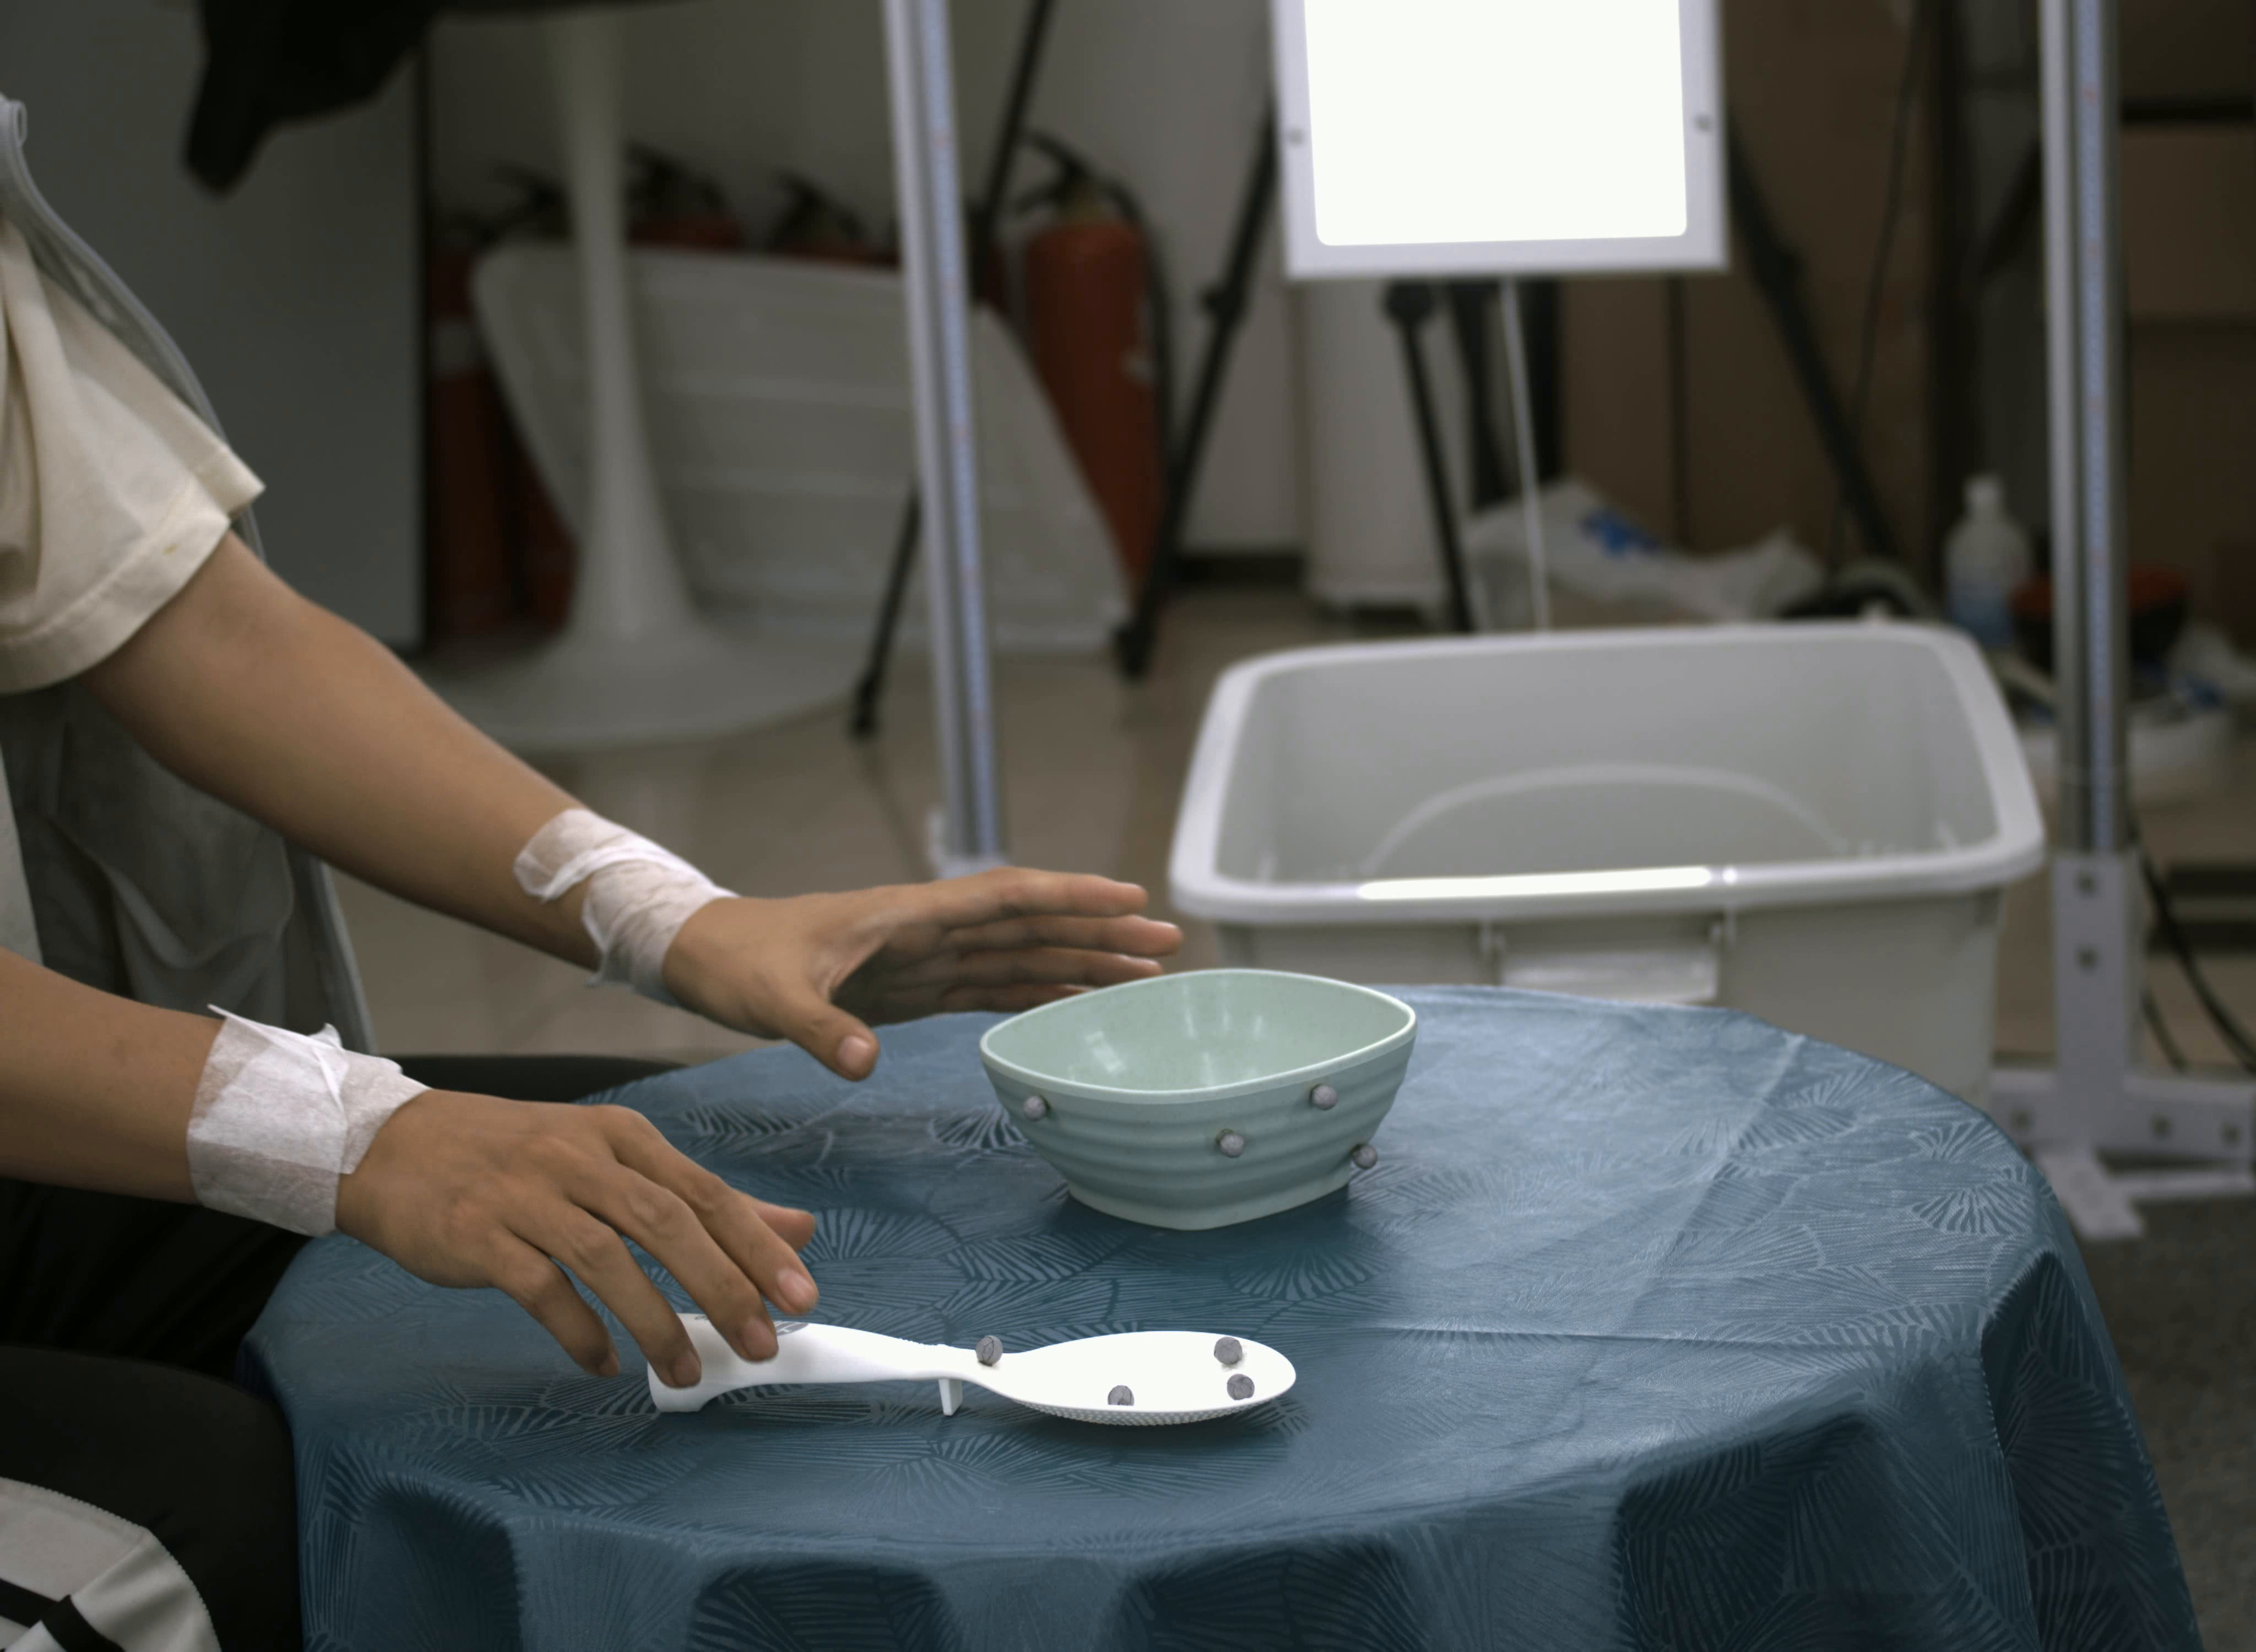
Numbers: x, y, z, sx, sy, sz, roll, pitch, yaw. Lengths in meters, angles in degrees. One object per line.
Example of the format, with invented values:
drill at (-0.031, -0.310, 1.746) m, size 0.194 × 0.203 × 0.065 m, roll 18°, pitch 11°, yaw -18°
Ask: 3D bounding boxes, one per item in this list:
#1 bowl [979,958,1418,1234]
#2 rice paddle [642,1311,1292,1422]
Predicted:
bowl at (0.025, 0.096, 1.889) m, size 0.151 × 0.059 × 0.151 m, roll -4°, pitch 16°, yaw 0°
rice paddle at (-0.049, 0.165, 1.692) m, size 0.207 × 0.029 × 0.068 m, roll -1°, pitch 16°, yaw 18°
